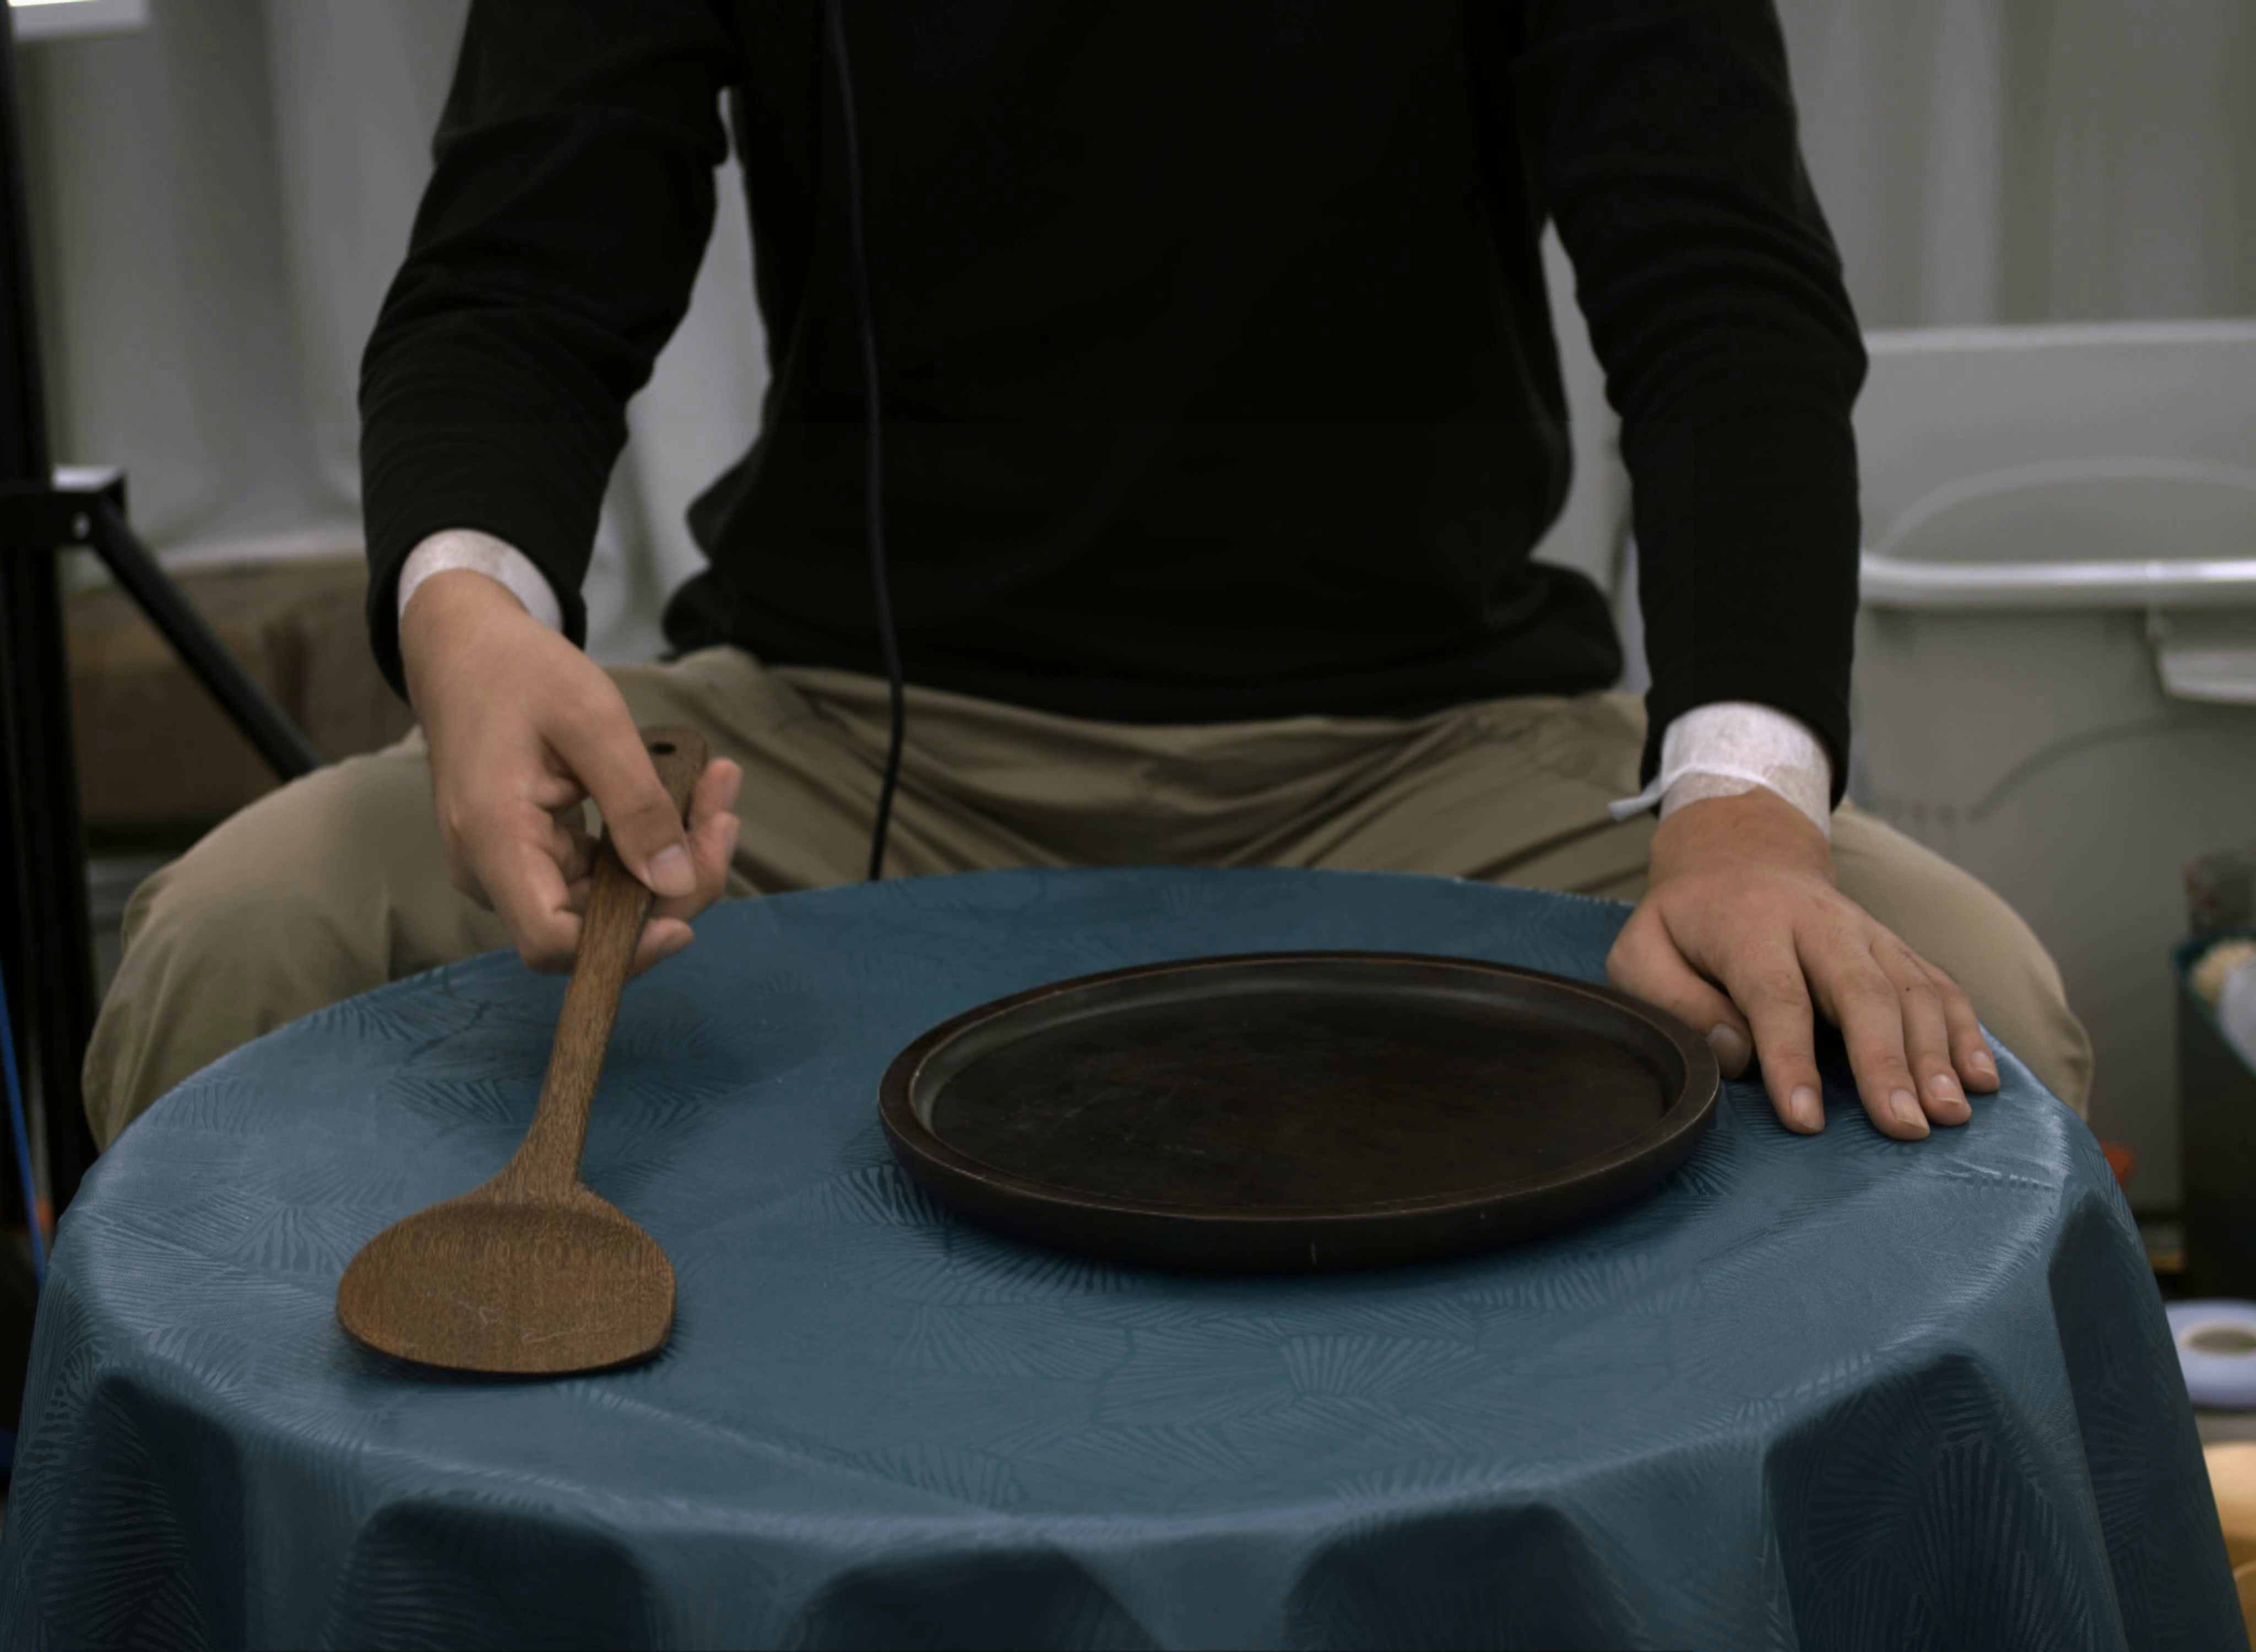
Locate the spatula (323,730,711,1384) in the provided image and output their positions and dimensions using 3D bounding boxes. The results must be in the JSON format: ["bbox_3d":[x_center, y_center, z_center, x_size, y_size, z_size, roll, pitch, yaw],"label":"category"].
[{"bbox_3d":[-0.163,0.059,1.606,0.096,0.016,0.388,2,28,3],"label":"spatula"}]

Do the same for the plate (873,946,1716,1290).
[{"bbox_3d":[0.050,0.085,1.591,0.253,0.029,0.256,-4,17,0],"label":"plate"}]
